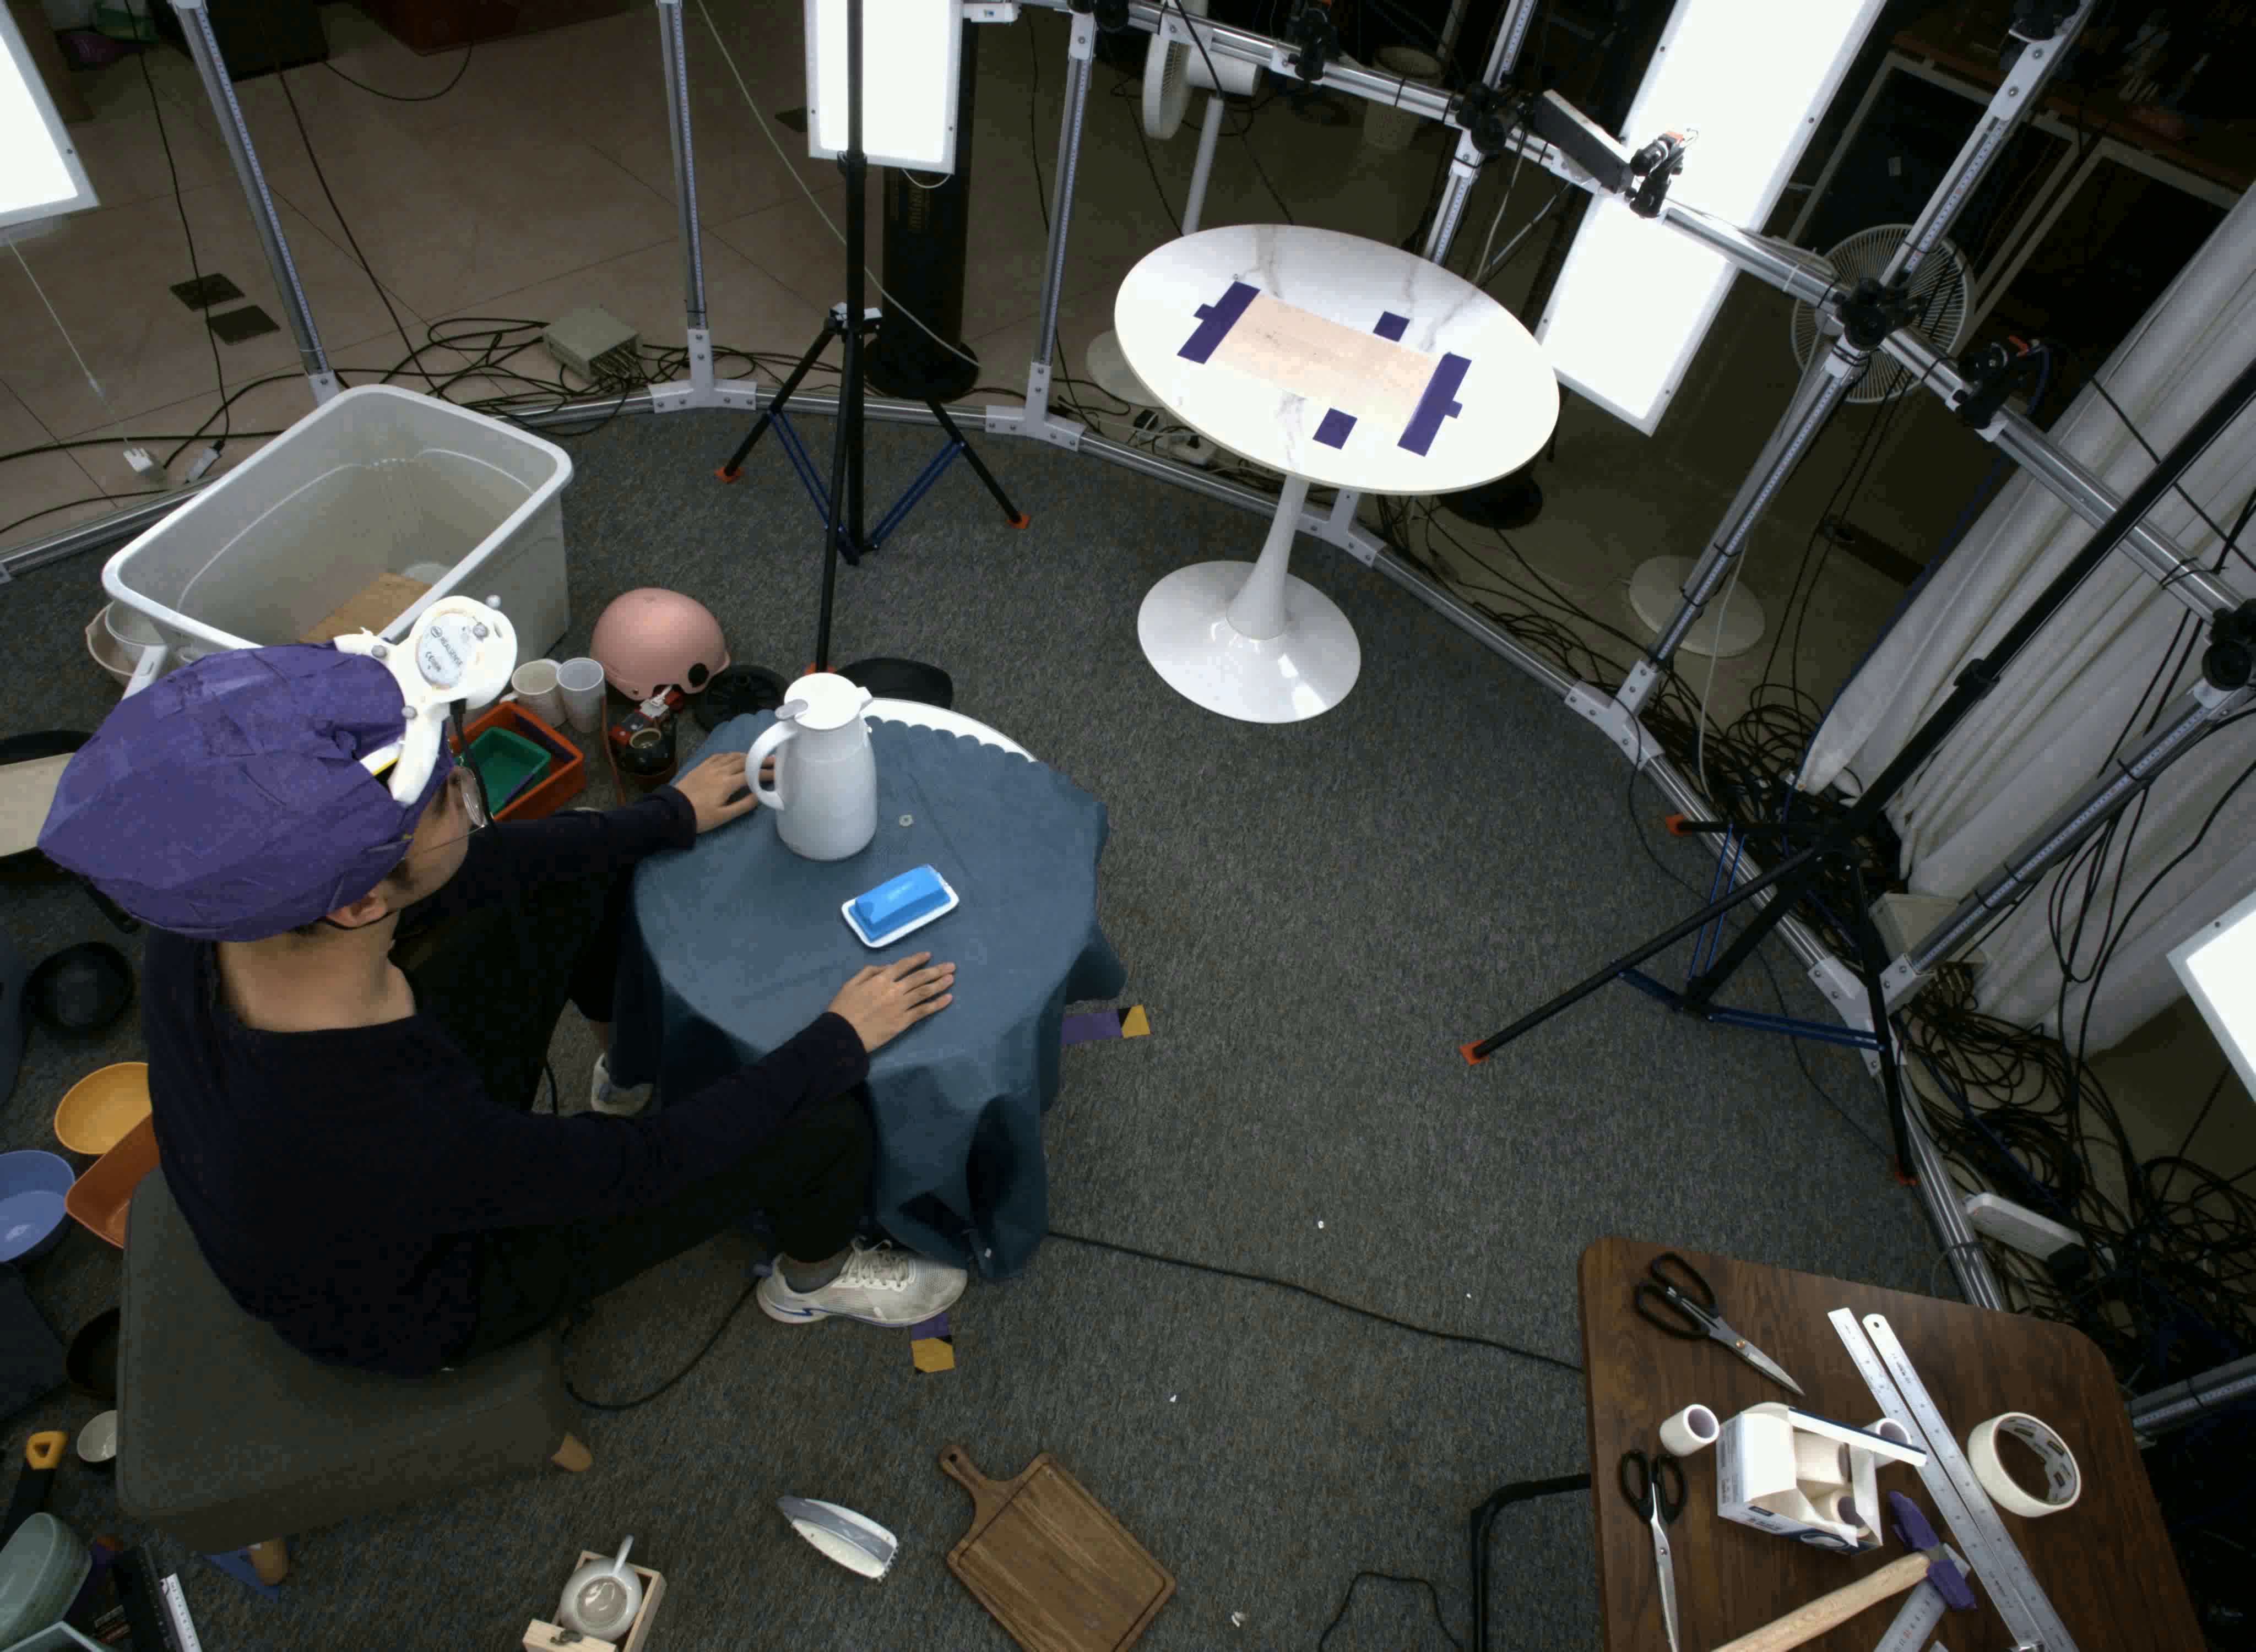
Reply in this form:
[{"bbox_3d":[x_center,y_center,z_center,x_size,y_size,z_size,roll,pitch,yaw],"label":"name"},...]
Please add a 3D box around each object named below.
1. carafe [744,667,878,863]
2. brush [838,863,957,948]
[{"bbox_3d":[-0.398,-0.074,1.627,0.168,0.254,0.129,-28,62,-27],"label":"carafe"},{"bbox_3d":[-0.293,0.092,1.651,0.145,0.057,0.081,-25,59,-30],"label":"brush"}]
